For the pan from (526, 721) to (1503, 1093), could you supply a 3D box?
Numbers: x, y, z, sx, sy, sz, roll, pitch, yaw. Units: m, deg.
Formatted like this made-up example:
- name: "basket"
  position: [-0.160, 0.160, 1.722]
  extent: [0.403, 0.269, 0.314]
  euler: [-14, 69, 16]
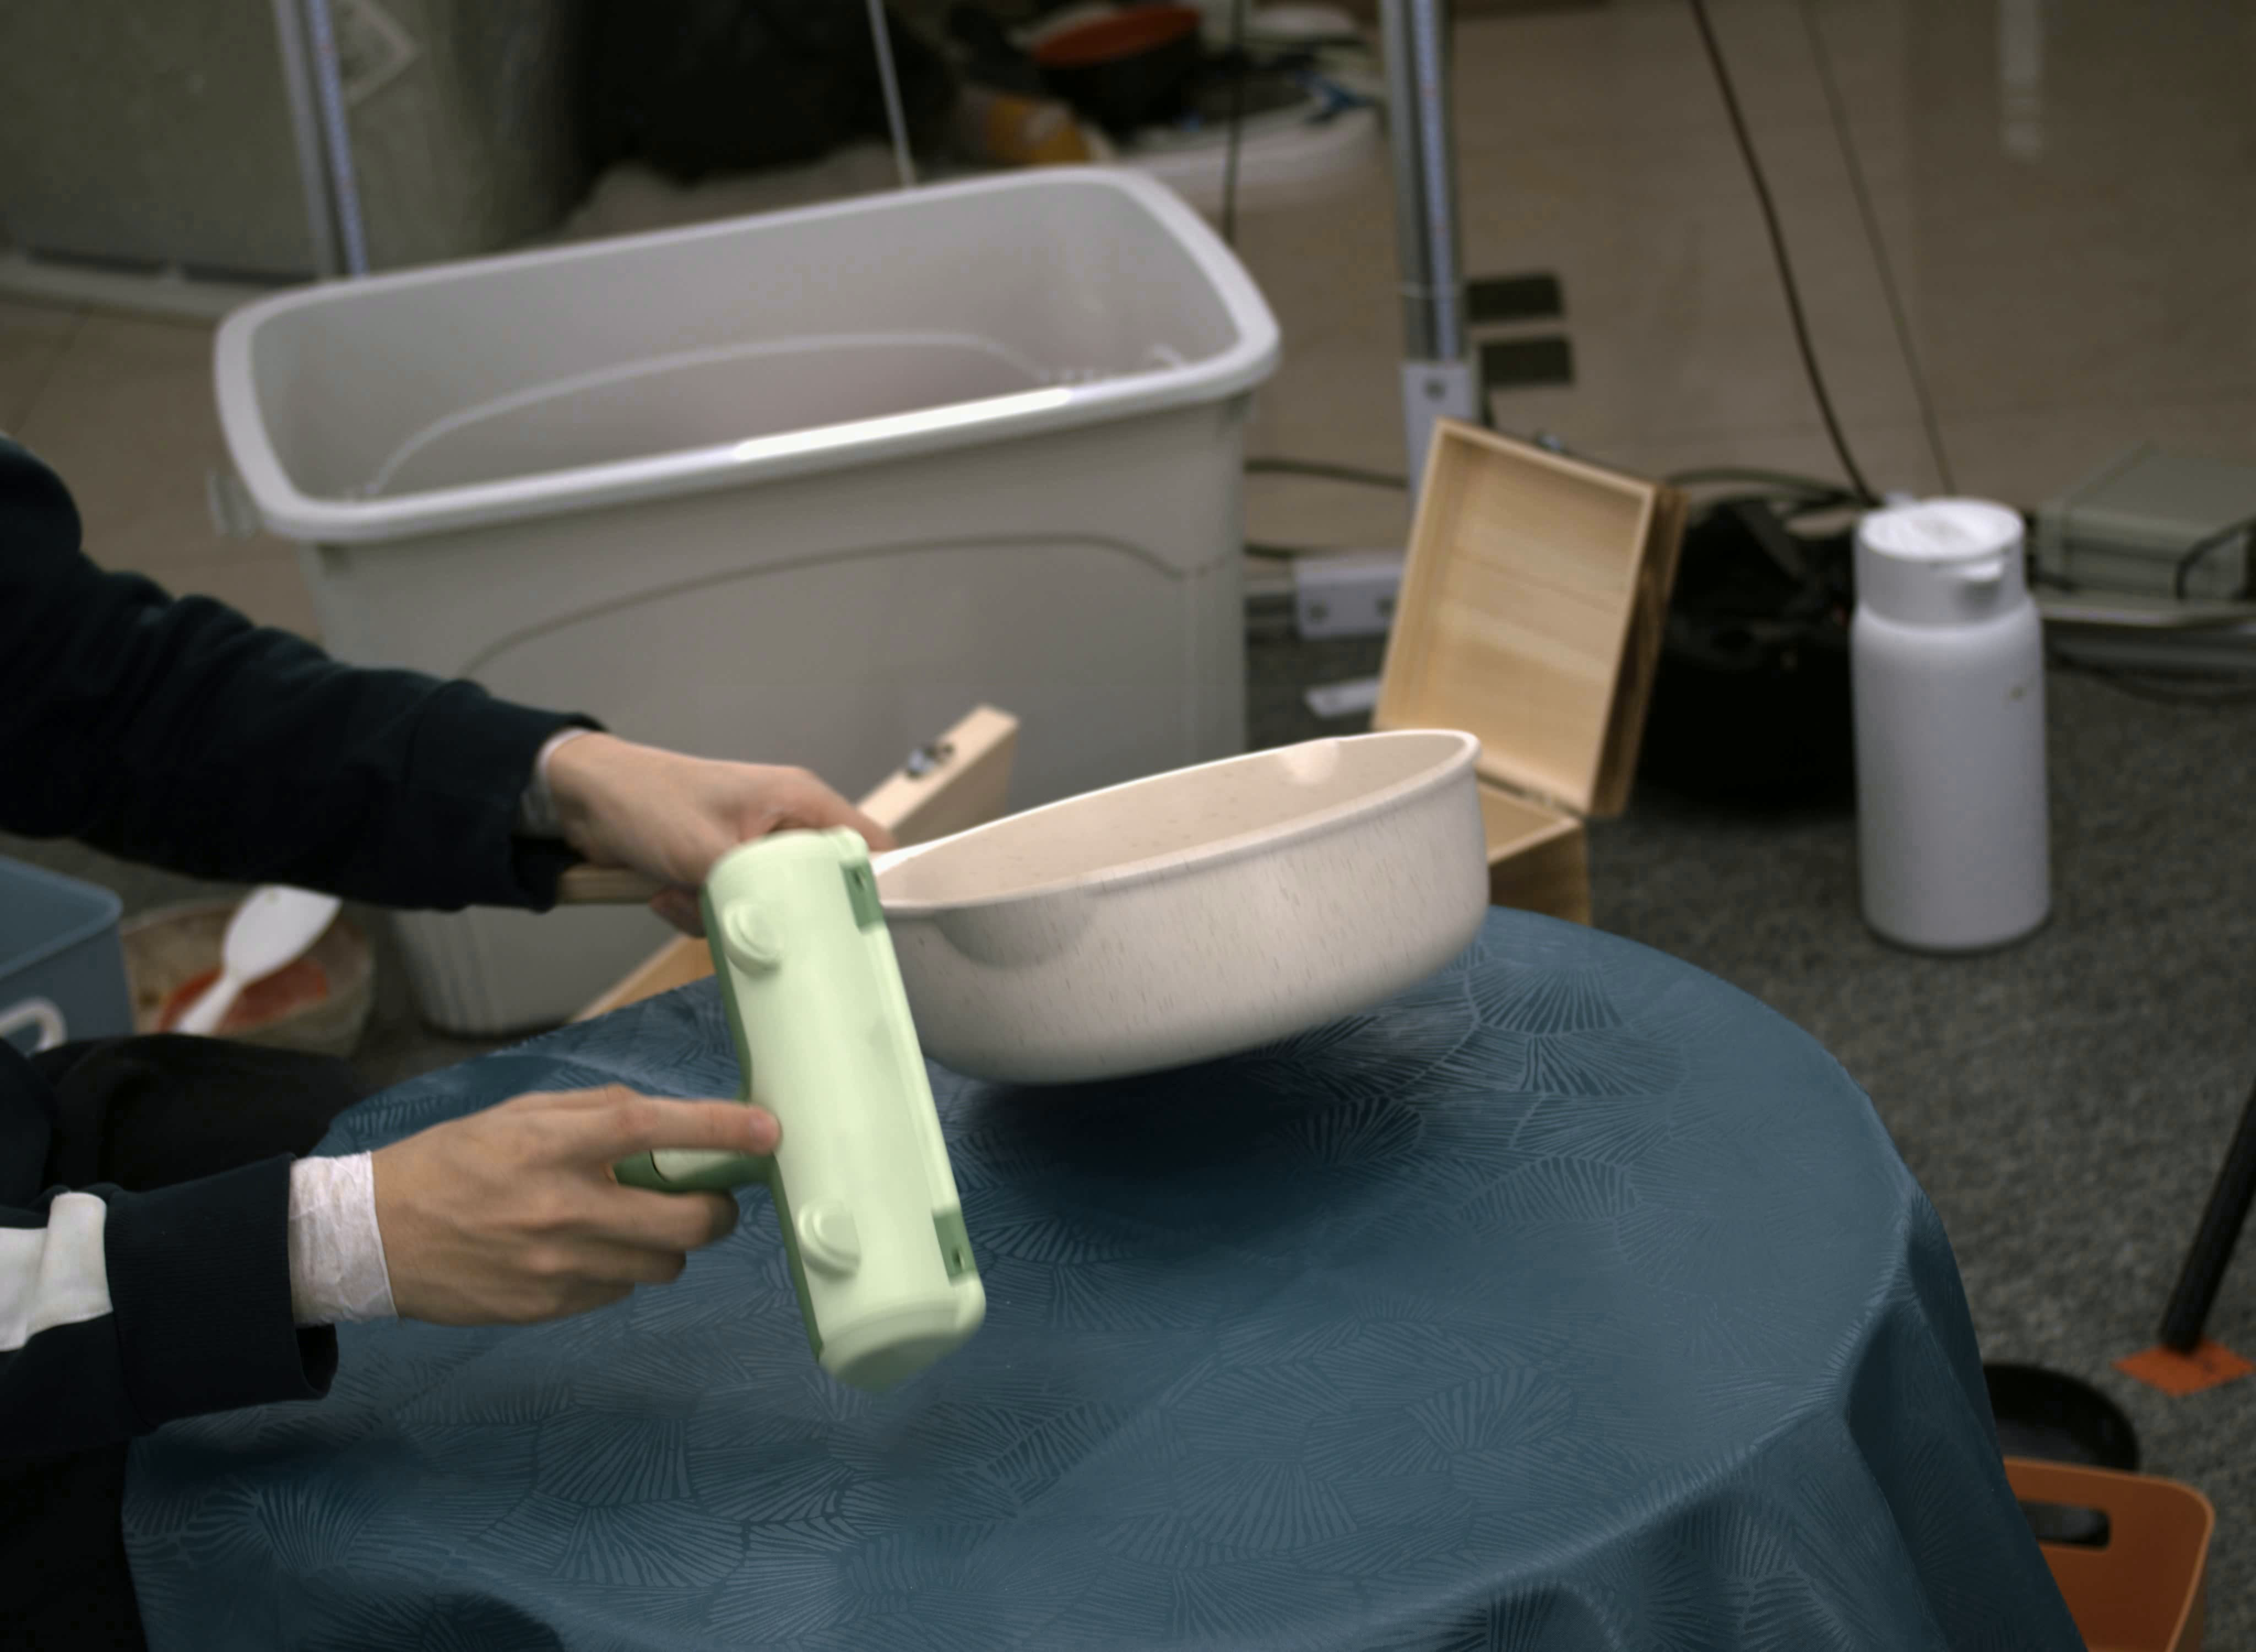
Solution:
- name: "pan"
  position: [-0.051, 0.039, 2.242]
  extent: [0.435, 0.103, 0.261]
  euler: [-9, 12, 32]

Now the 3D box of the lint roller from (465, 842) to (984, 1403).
- name: "lint roller"
  position: [-0.157, 0.117, 1.993]
  extent: [0.183, 0.083, 0.196]
  euler: [-17, 69, 6]
